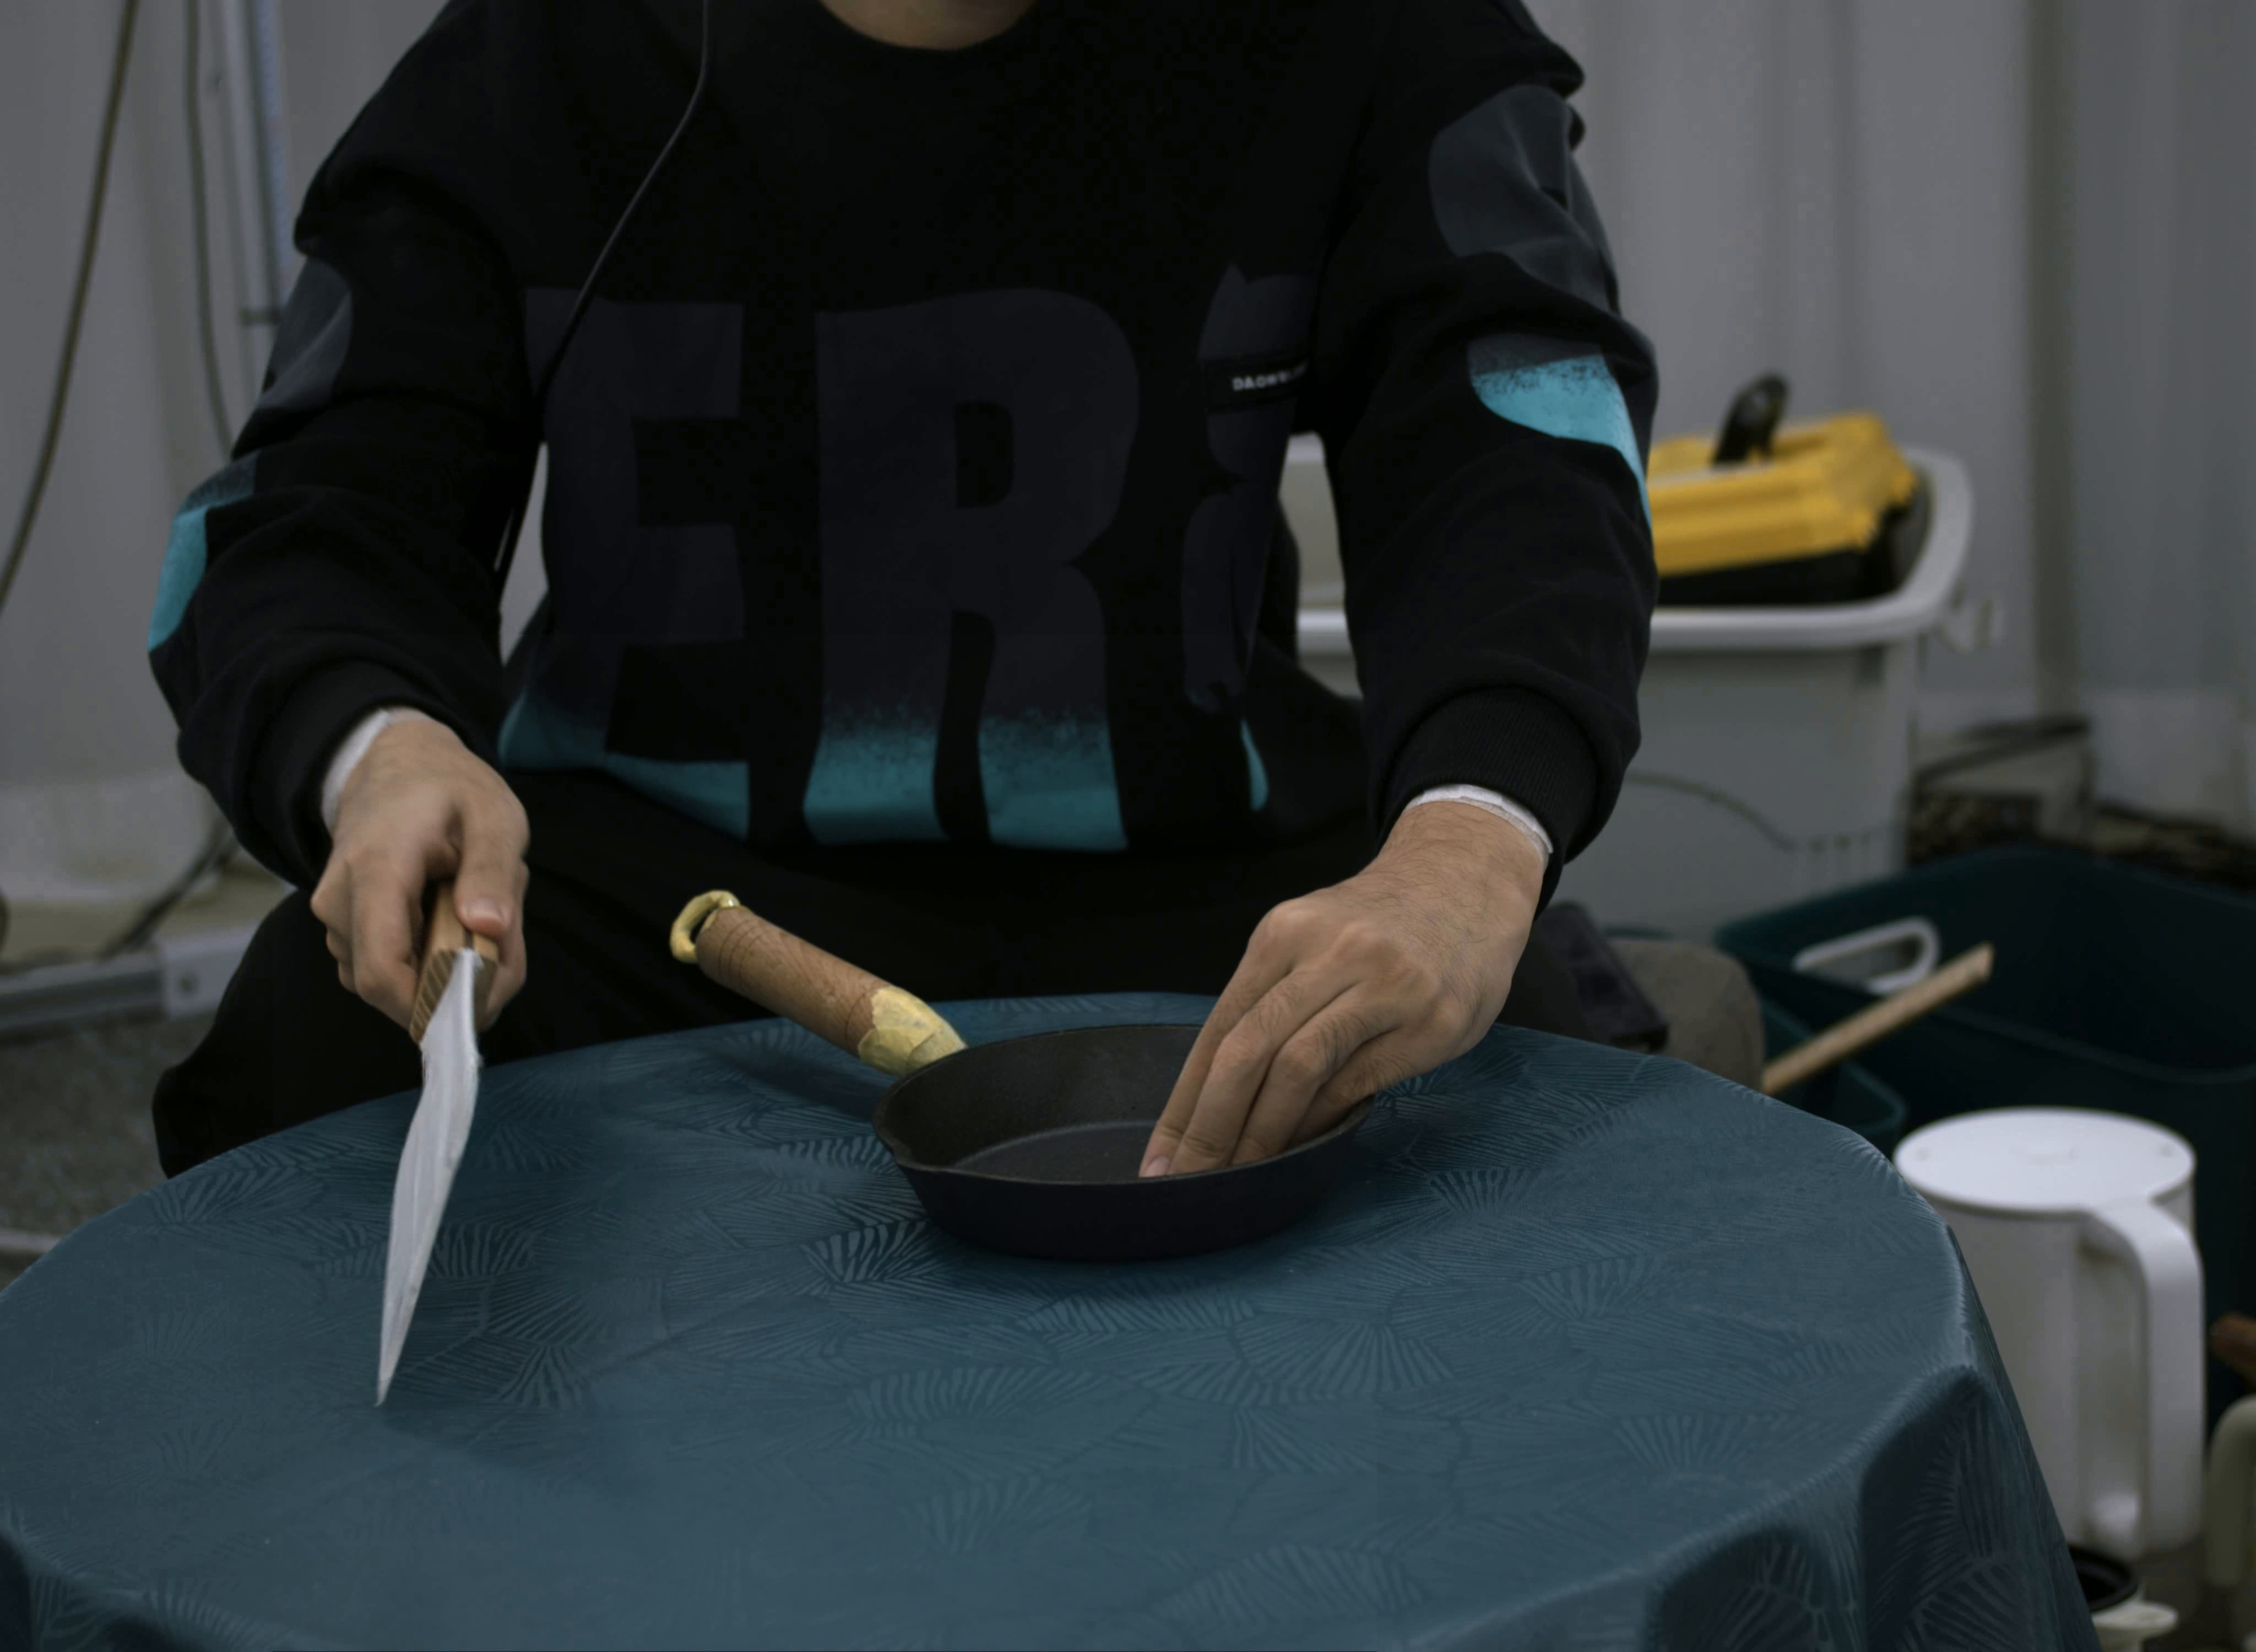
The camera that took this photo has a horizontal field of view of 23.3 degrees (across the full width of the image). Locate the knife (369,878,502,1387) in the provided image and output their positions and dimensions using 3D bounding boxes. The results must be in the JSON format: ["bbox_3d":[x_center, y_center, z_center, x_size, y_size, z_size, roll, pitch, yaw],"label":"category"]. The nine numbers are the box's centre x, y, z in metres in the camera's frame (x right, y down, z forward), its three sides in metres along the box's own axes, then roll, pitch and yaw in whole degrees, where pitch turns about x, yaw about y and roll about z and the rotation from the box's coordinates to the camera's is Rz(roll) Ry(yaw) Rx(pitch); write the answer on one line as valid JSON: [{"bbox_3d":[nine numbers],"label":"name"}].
[{"bbox_3d":[-0.212,0.078,1.691,0.021,0.113,0.318,19,15,-11],"label":"knife"}]

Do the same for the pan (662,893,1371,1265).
[{"bbox_3d":[-0.053,0.077,1.769,0.168,0.049,0.326,-14,20,-35],"label":"pan"}]
